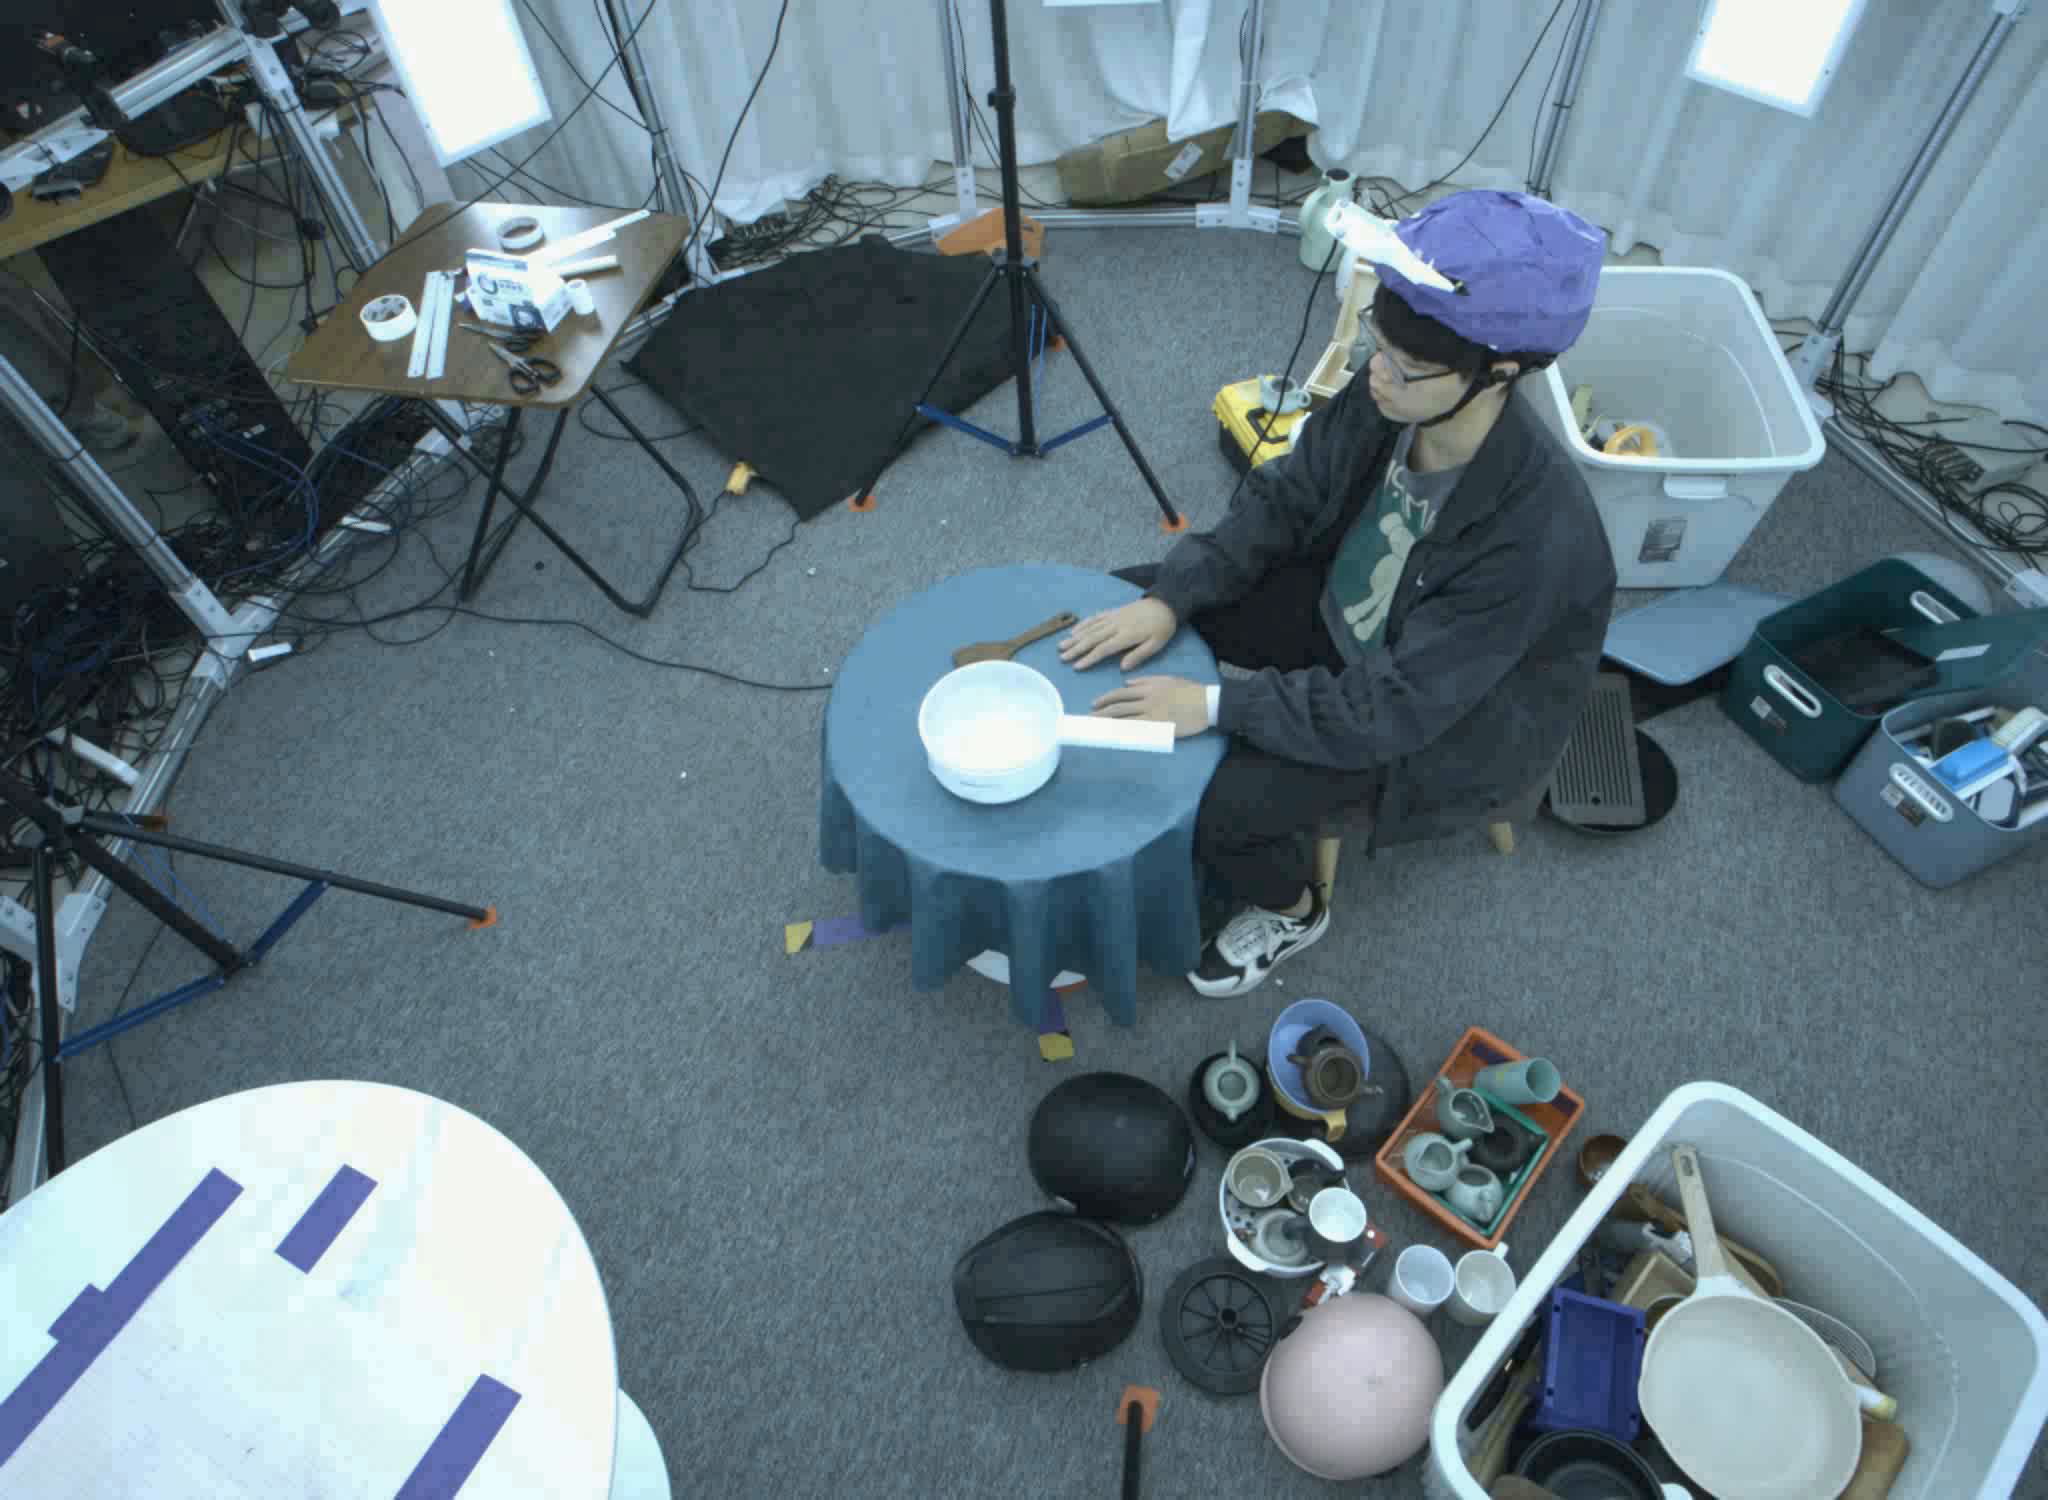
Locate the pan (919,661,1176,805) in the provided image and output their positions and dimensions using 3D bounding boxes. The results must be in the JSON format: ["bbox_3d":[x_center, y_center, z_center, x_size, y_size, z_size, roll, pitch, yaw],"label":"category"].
[{"bbox_3d":[0.033,-0.011,1.726,0.354,0.103,0.200,6,55,5],"label":"pan"}]

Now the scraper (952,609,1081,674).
[{"bbox_3d":[-0.007,-0.168,1.895,0.213,0.011,0.074,-27,59,-17],"label":"scraper"}]
